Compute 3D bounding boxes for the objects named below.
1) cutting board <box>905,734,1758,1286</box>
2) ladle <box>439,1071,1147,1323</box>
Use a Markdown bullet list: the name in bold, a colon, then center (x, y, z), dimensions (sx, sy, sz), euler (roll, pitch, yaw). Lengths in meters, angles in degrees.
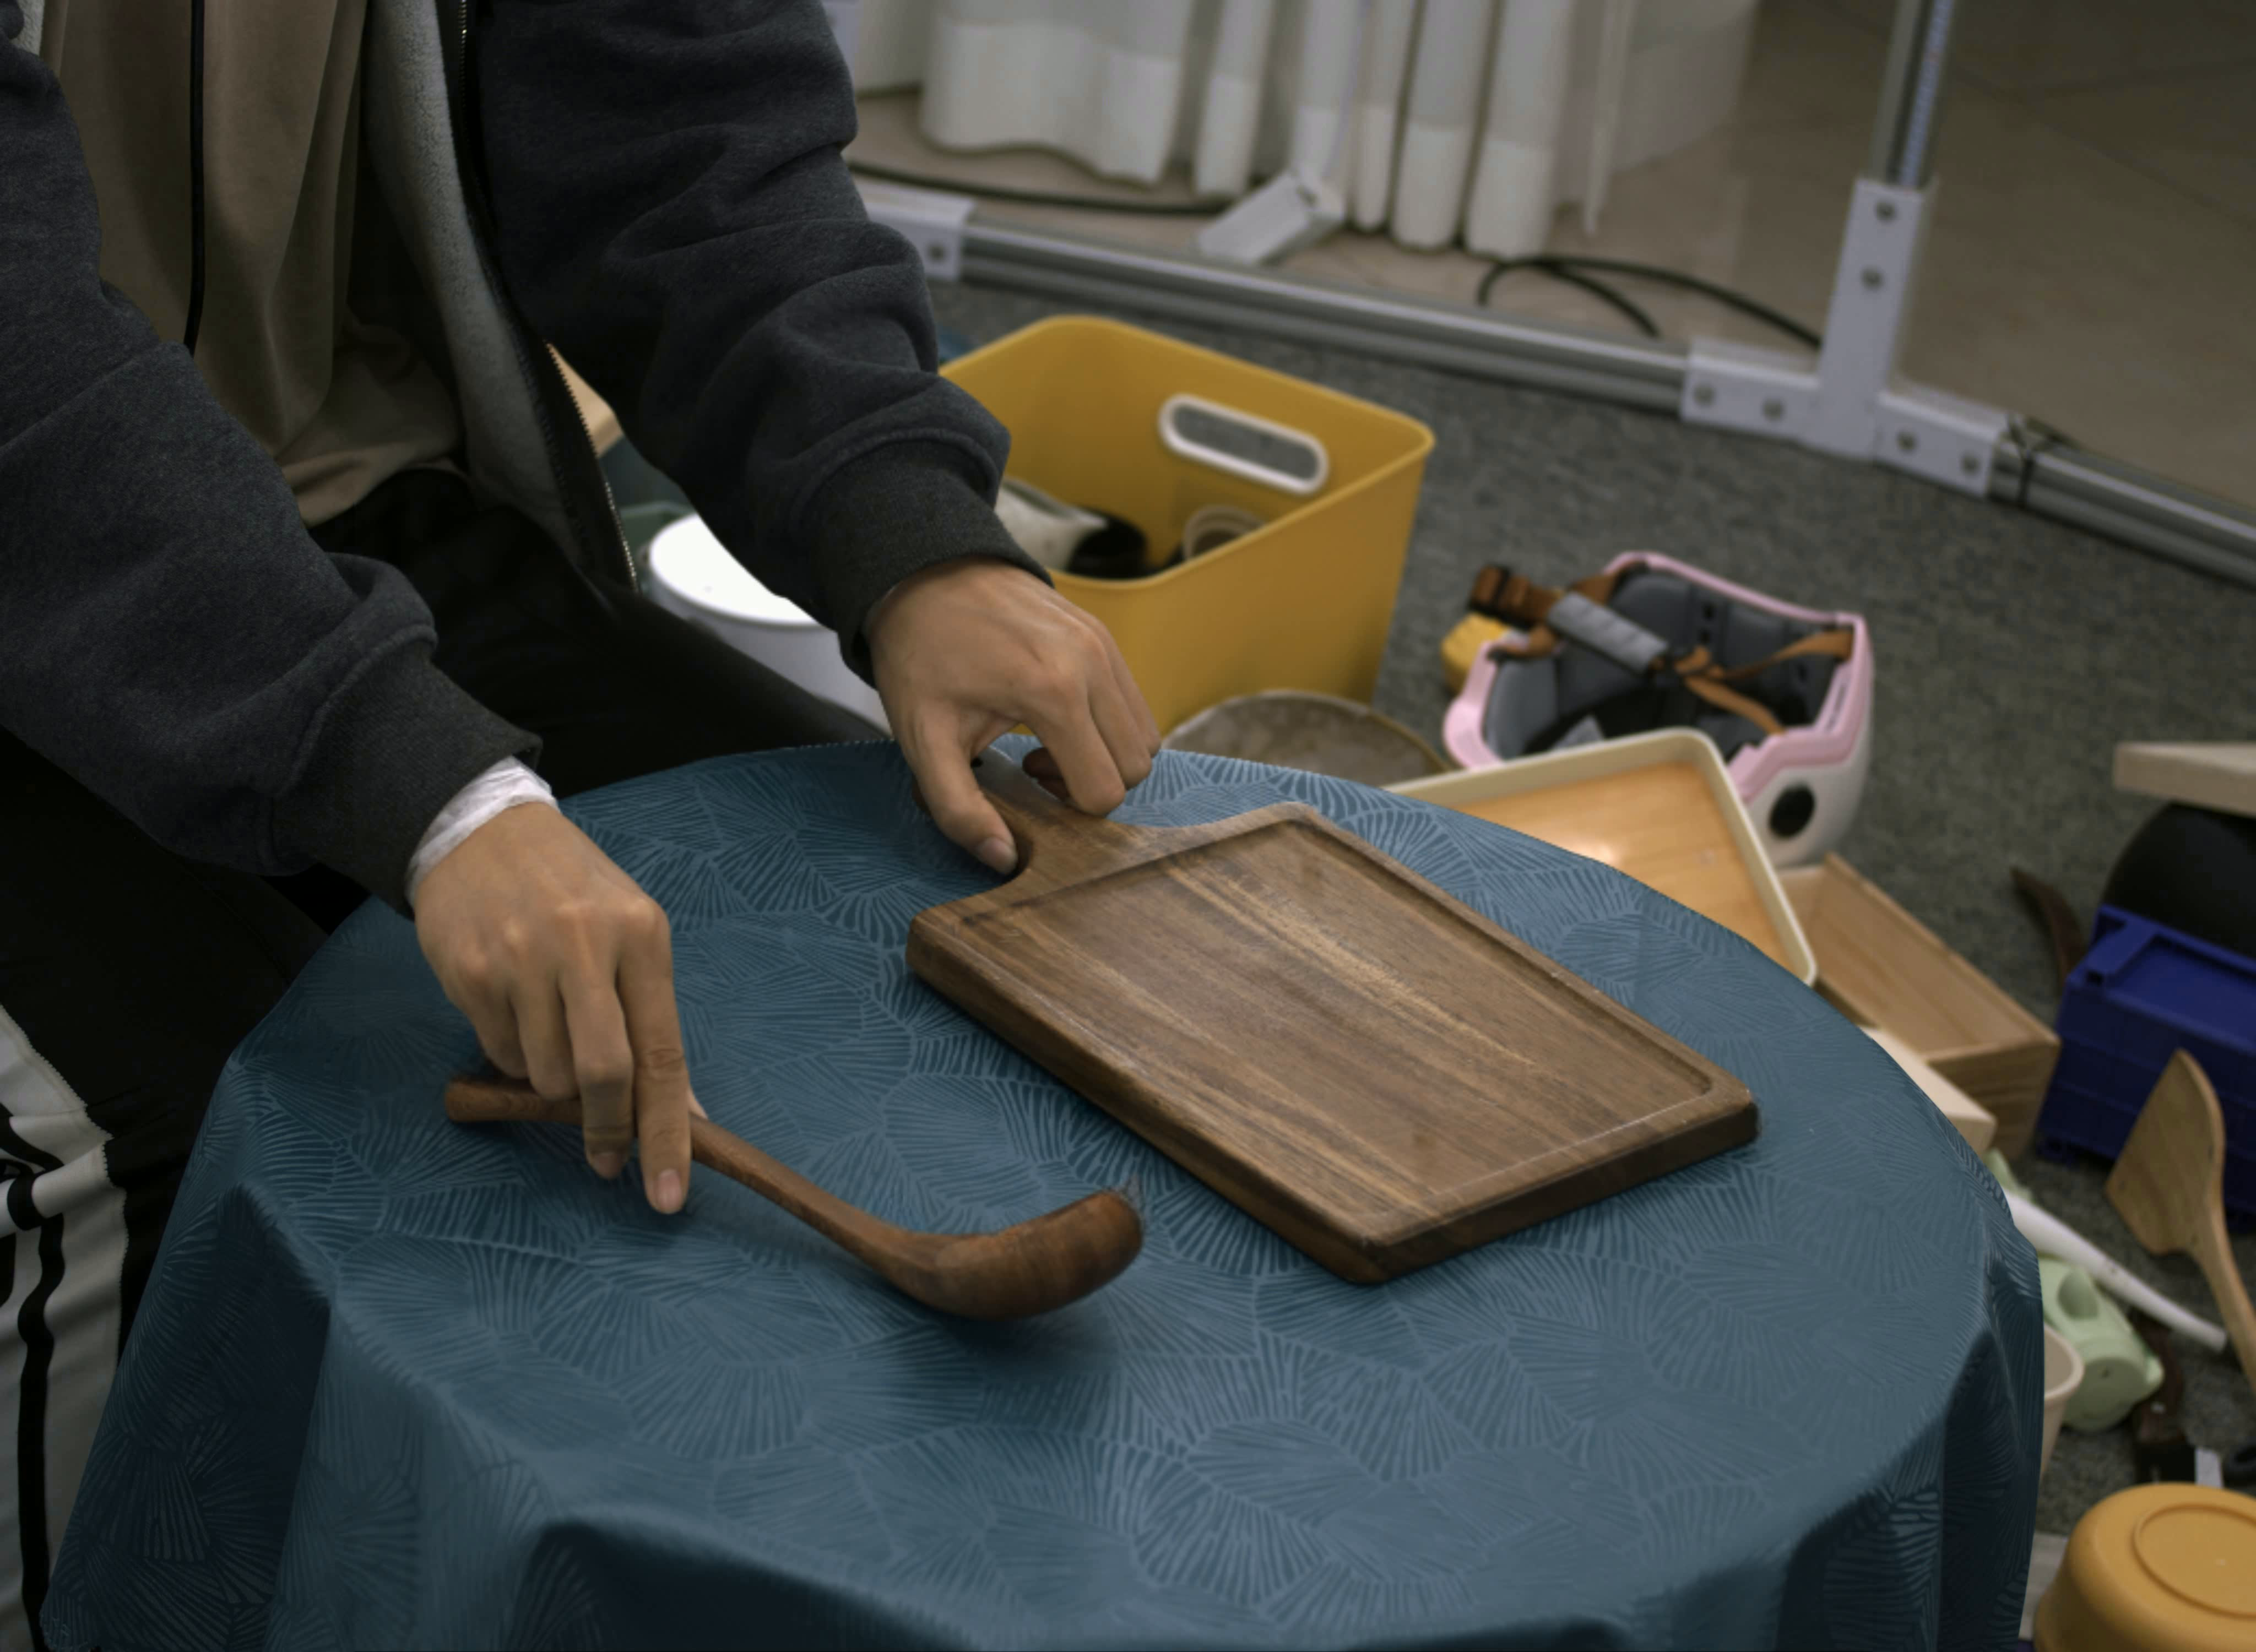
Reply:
- **cutting board**: center (0.039, 0.050, 1.923), dimensions (0.200, 0.023, 0.355), euler (-16, 36, -38)
- **ladle**: center (-0.113, 0.105, 1.741), dimensions (0.261, 0.065, 0.076), euler (19, 16, 24)
